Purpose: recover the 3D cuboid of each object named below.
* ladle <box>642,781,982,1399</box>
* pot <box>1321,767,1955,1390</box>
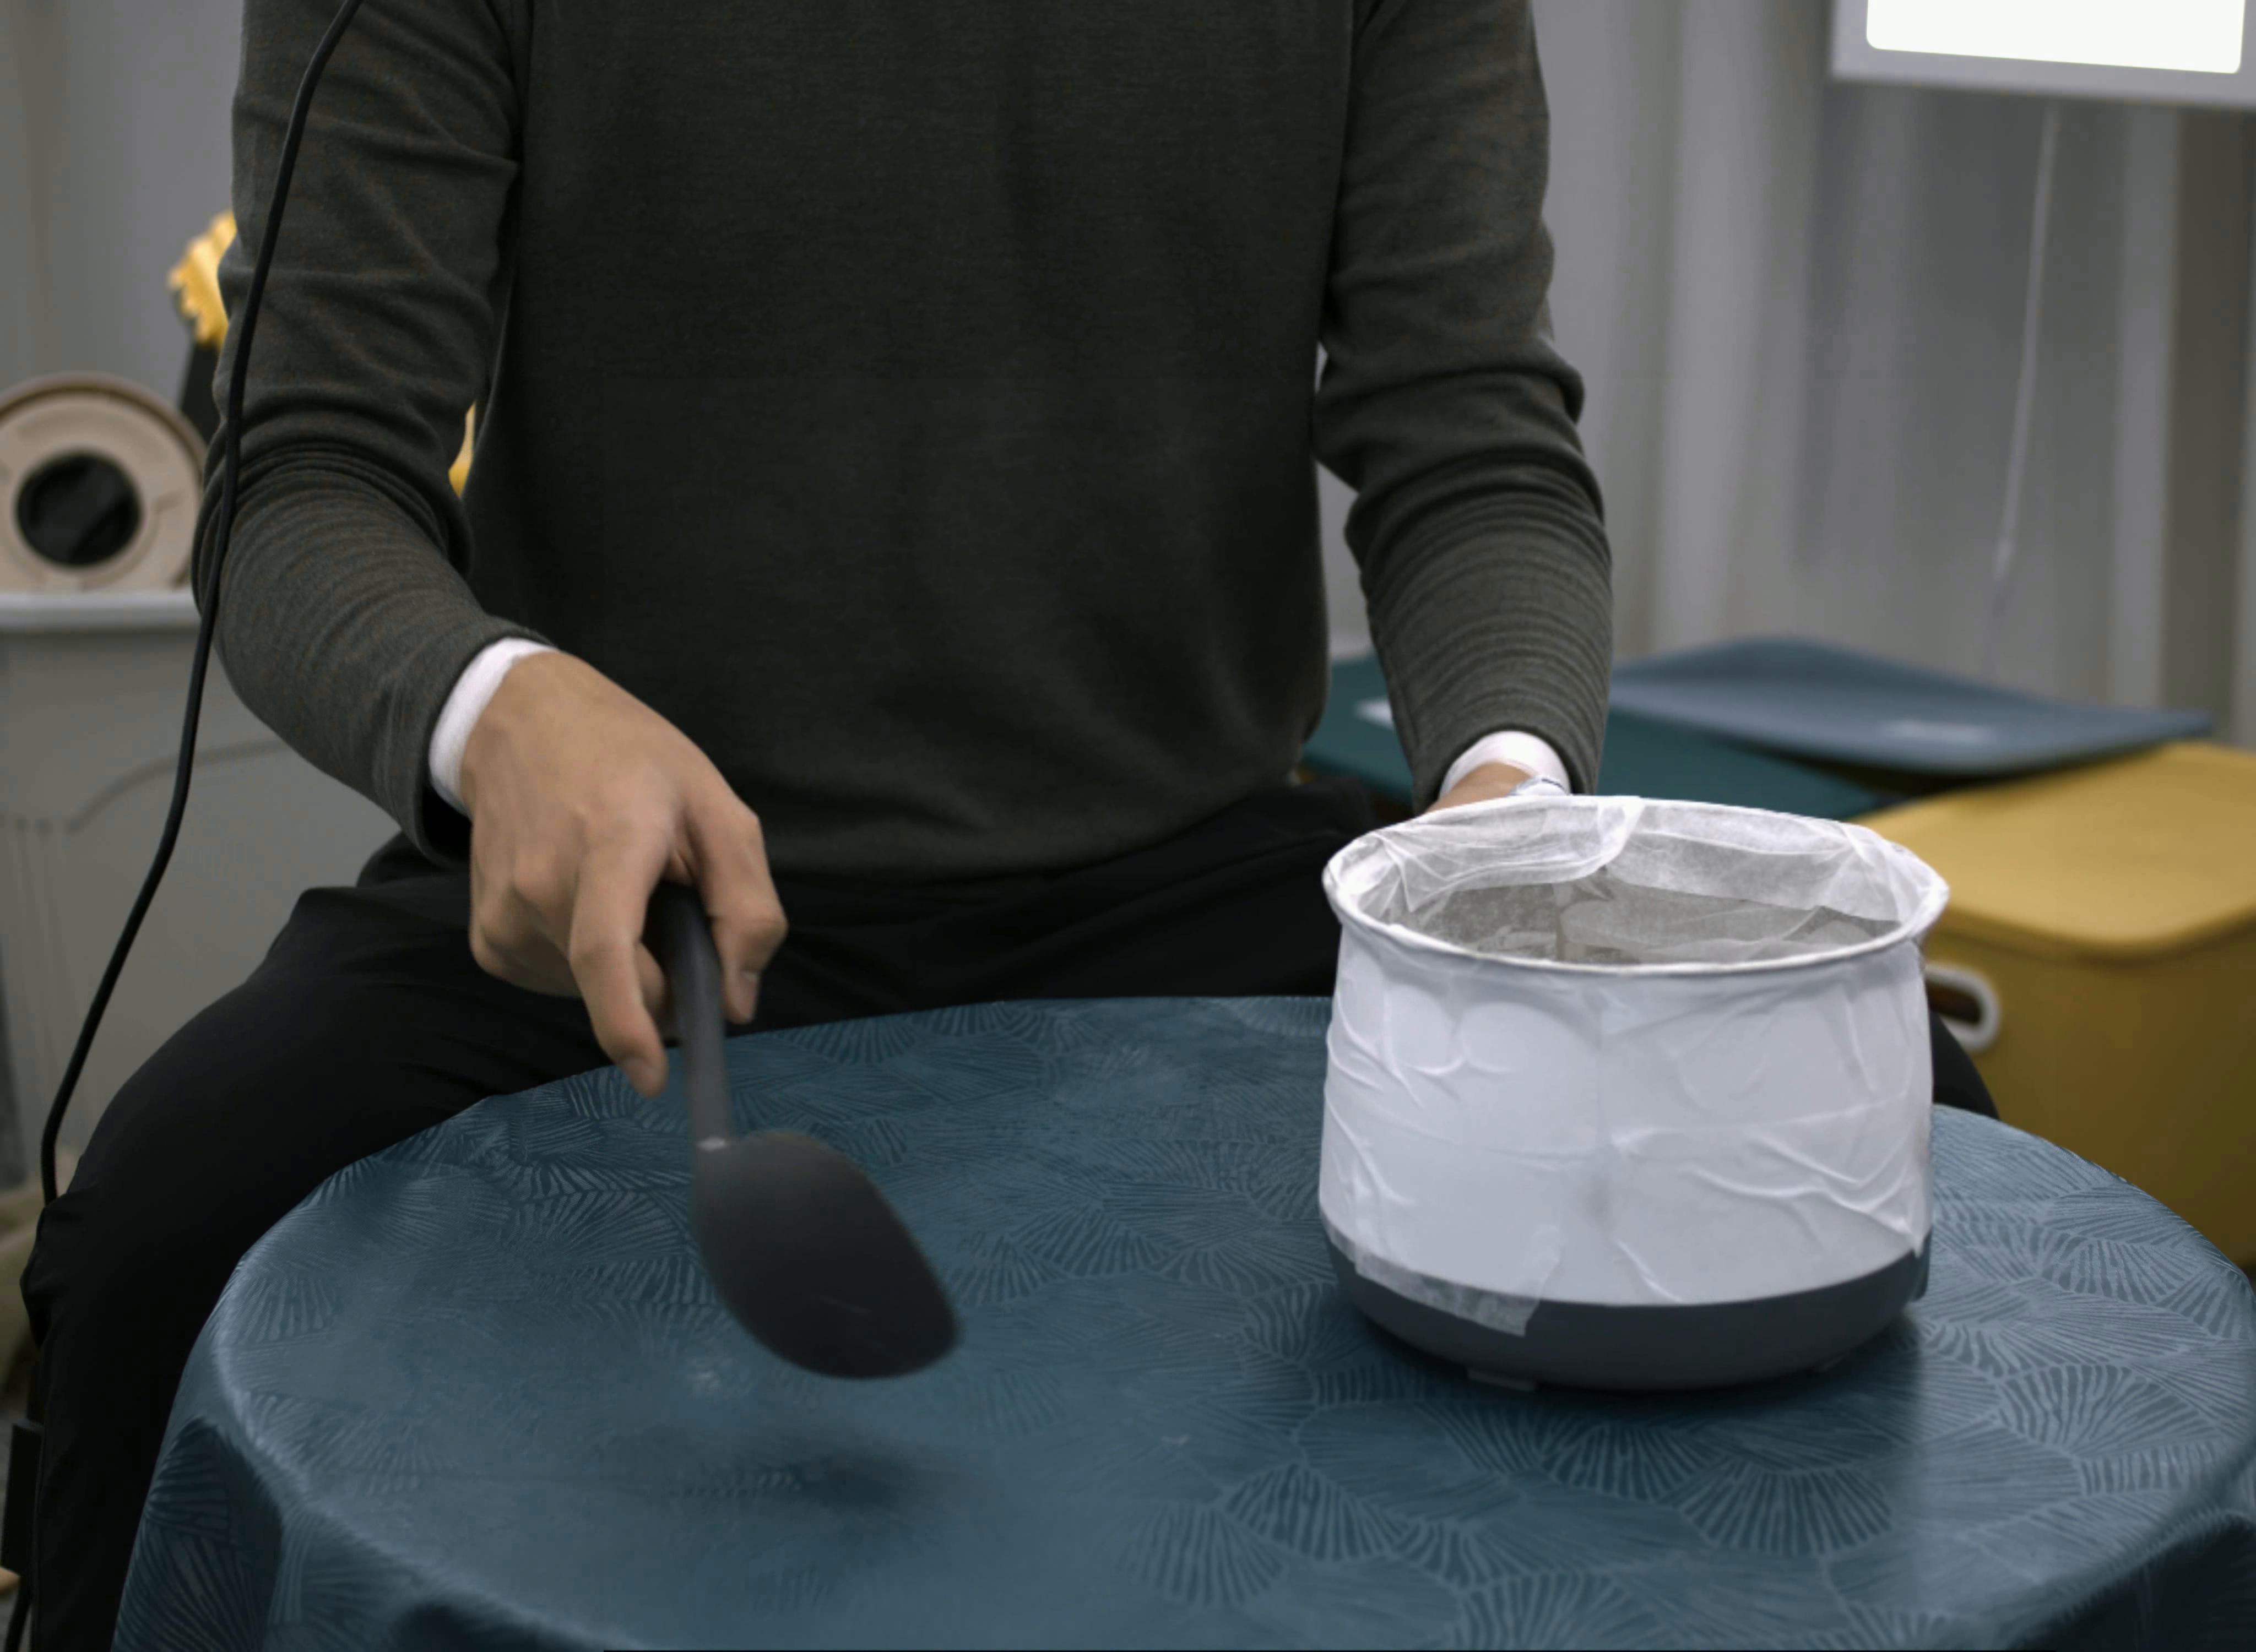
[{"bbox_3d":[-0.097,0.056,1.491,0.064,0.087,0.310,-22,30,3],"label":"ladle"},{"bbox_3d":[0.138,0.067,1.530,0.179,0.138,0.231,-3,16,-12],"label":"pot"}]
